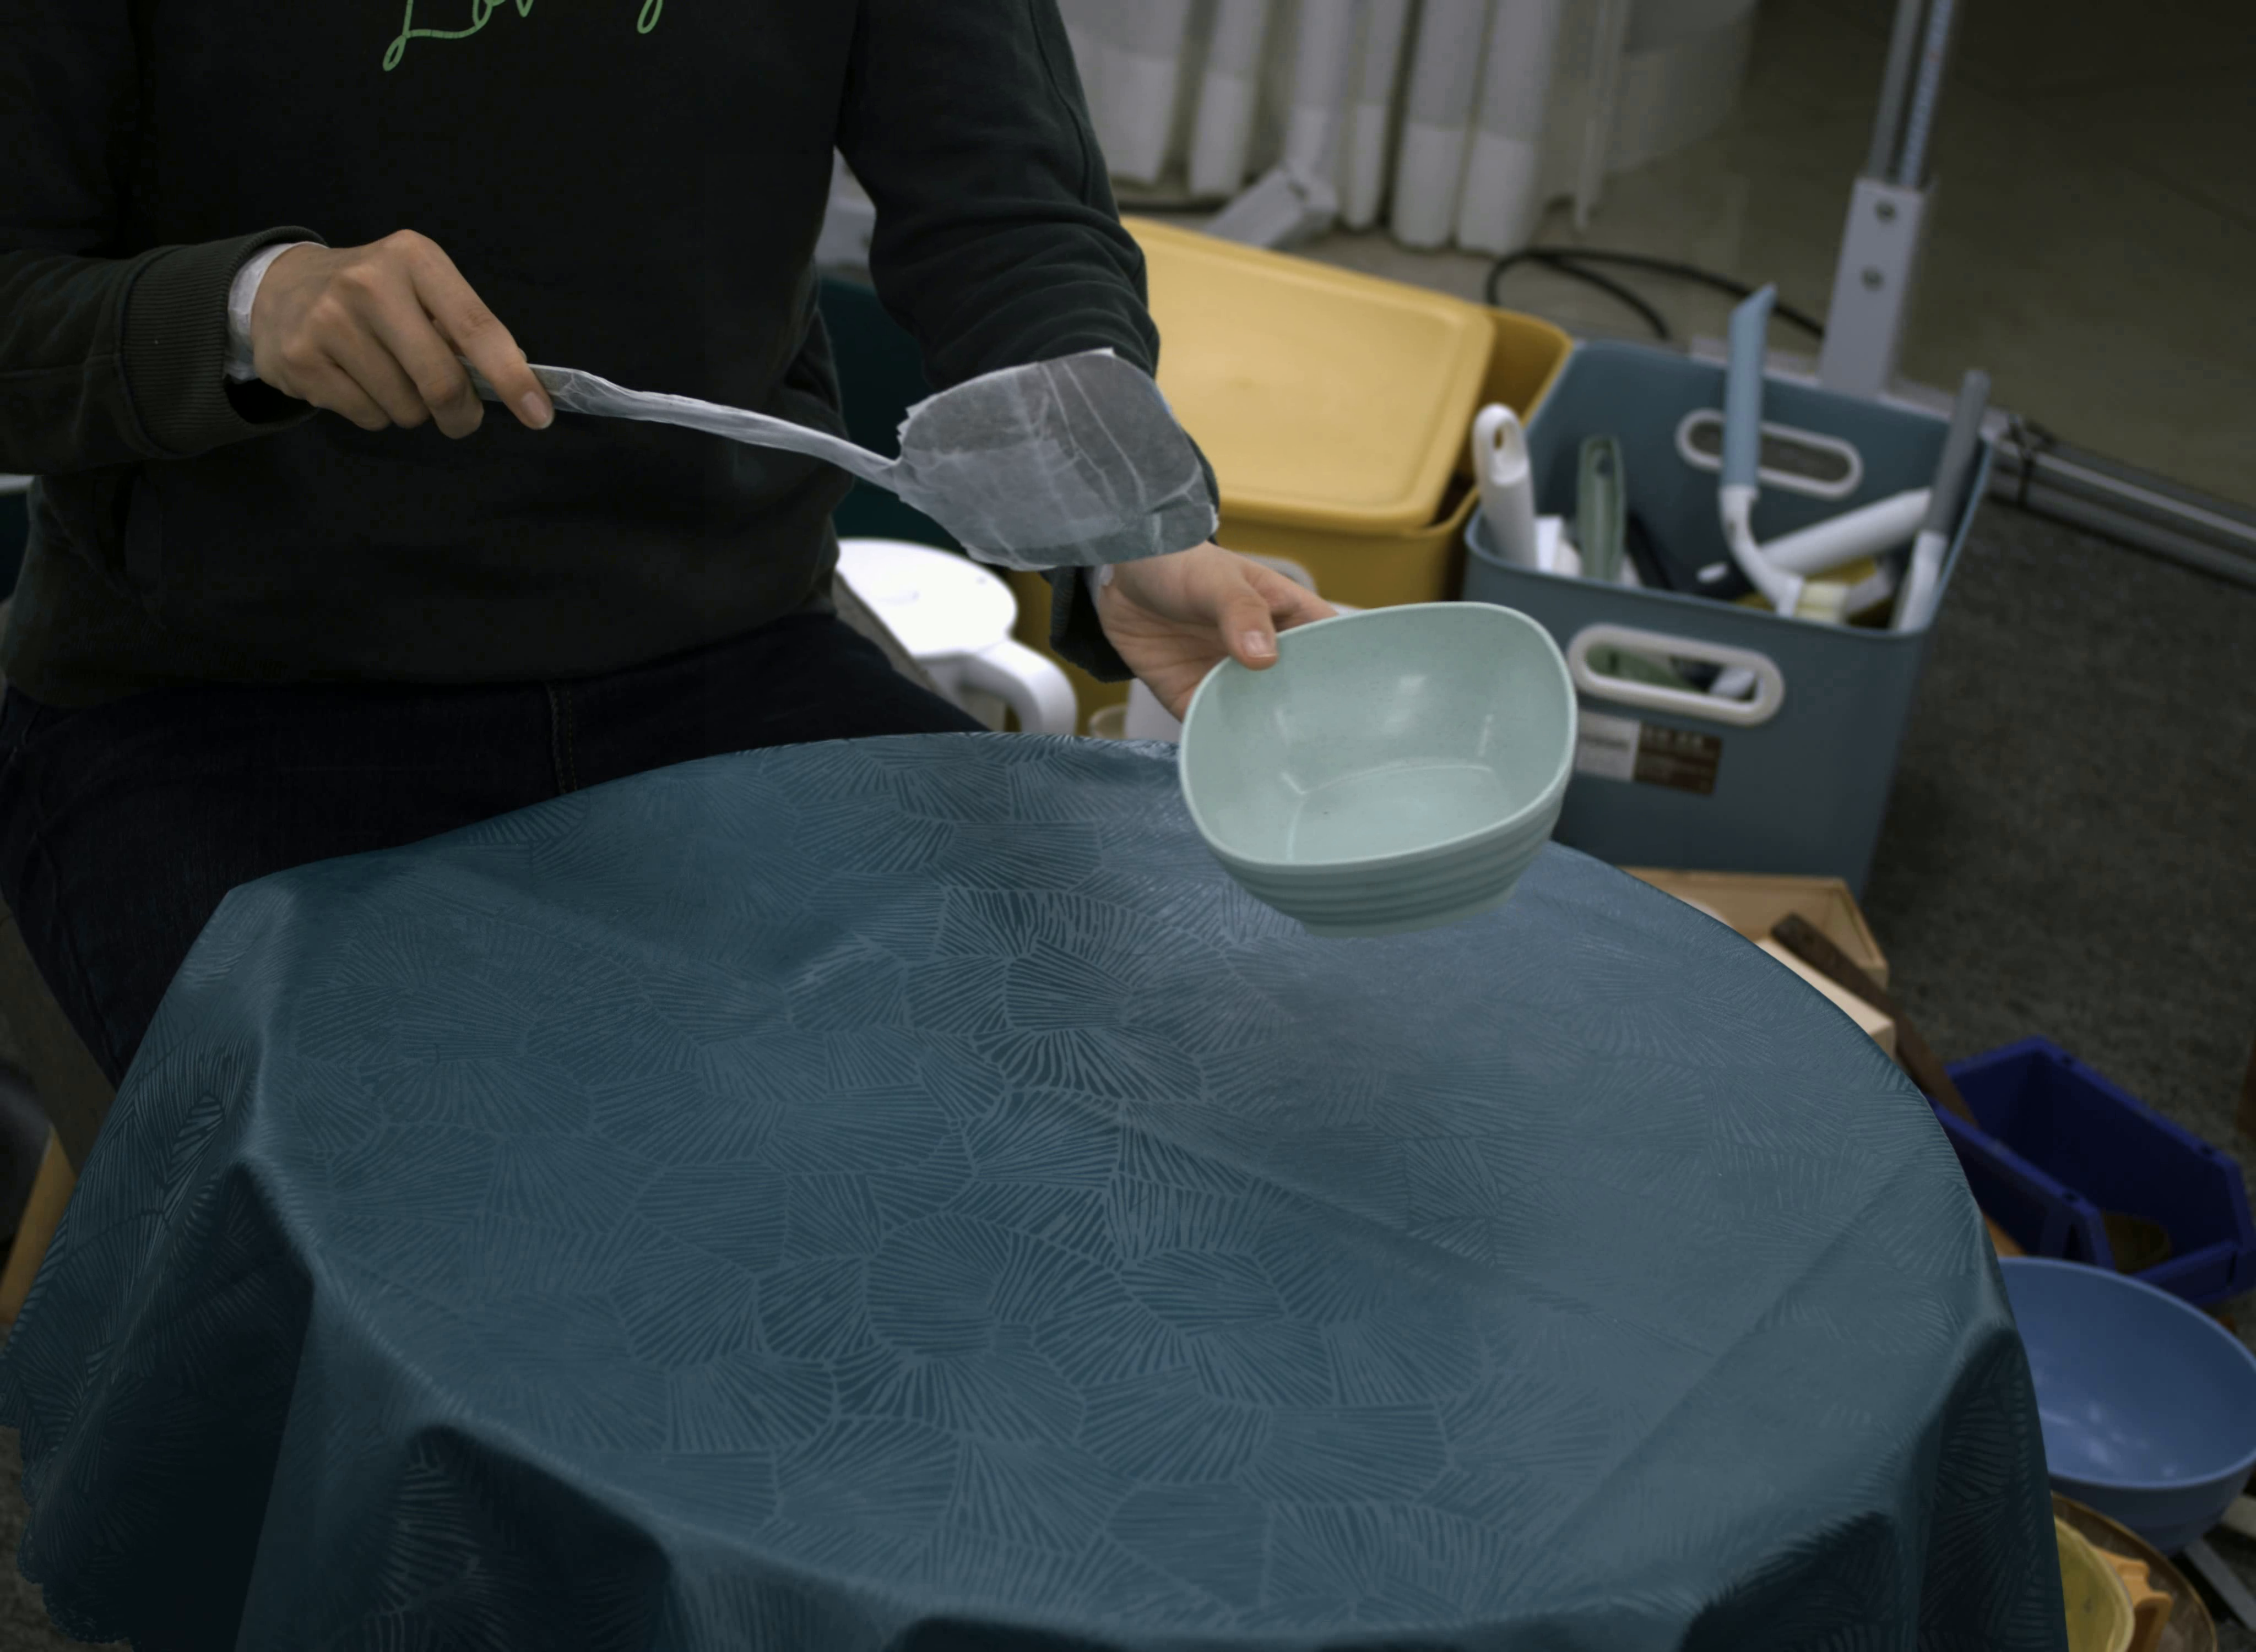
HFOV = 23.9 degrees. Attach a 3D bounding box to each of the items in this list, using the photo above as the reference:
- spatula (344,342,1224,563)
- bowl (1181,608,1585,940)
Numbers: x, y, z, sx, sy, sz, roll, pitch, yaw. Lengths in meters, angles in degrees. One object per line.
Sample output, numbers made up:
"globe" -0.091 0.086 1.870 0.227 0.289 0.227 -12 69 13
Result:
"spatula" -0.133 -0.140 1.844 0.367 0.098 0.045 11 58 34
"bowl" 0.091 -0.010 1.839 0.151 0.058 0.152 -7 38 6
